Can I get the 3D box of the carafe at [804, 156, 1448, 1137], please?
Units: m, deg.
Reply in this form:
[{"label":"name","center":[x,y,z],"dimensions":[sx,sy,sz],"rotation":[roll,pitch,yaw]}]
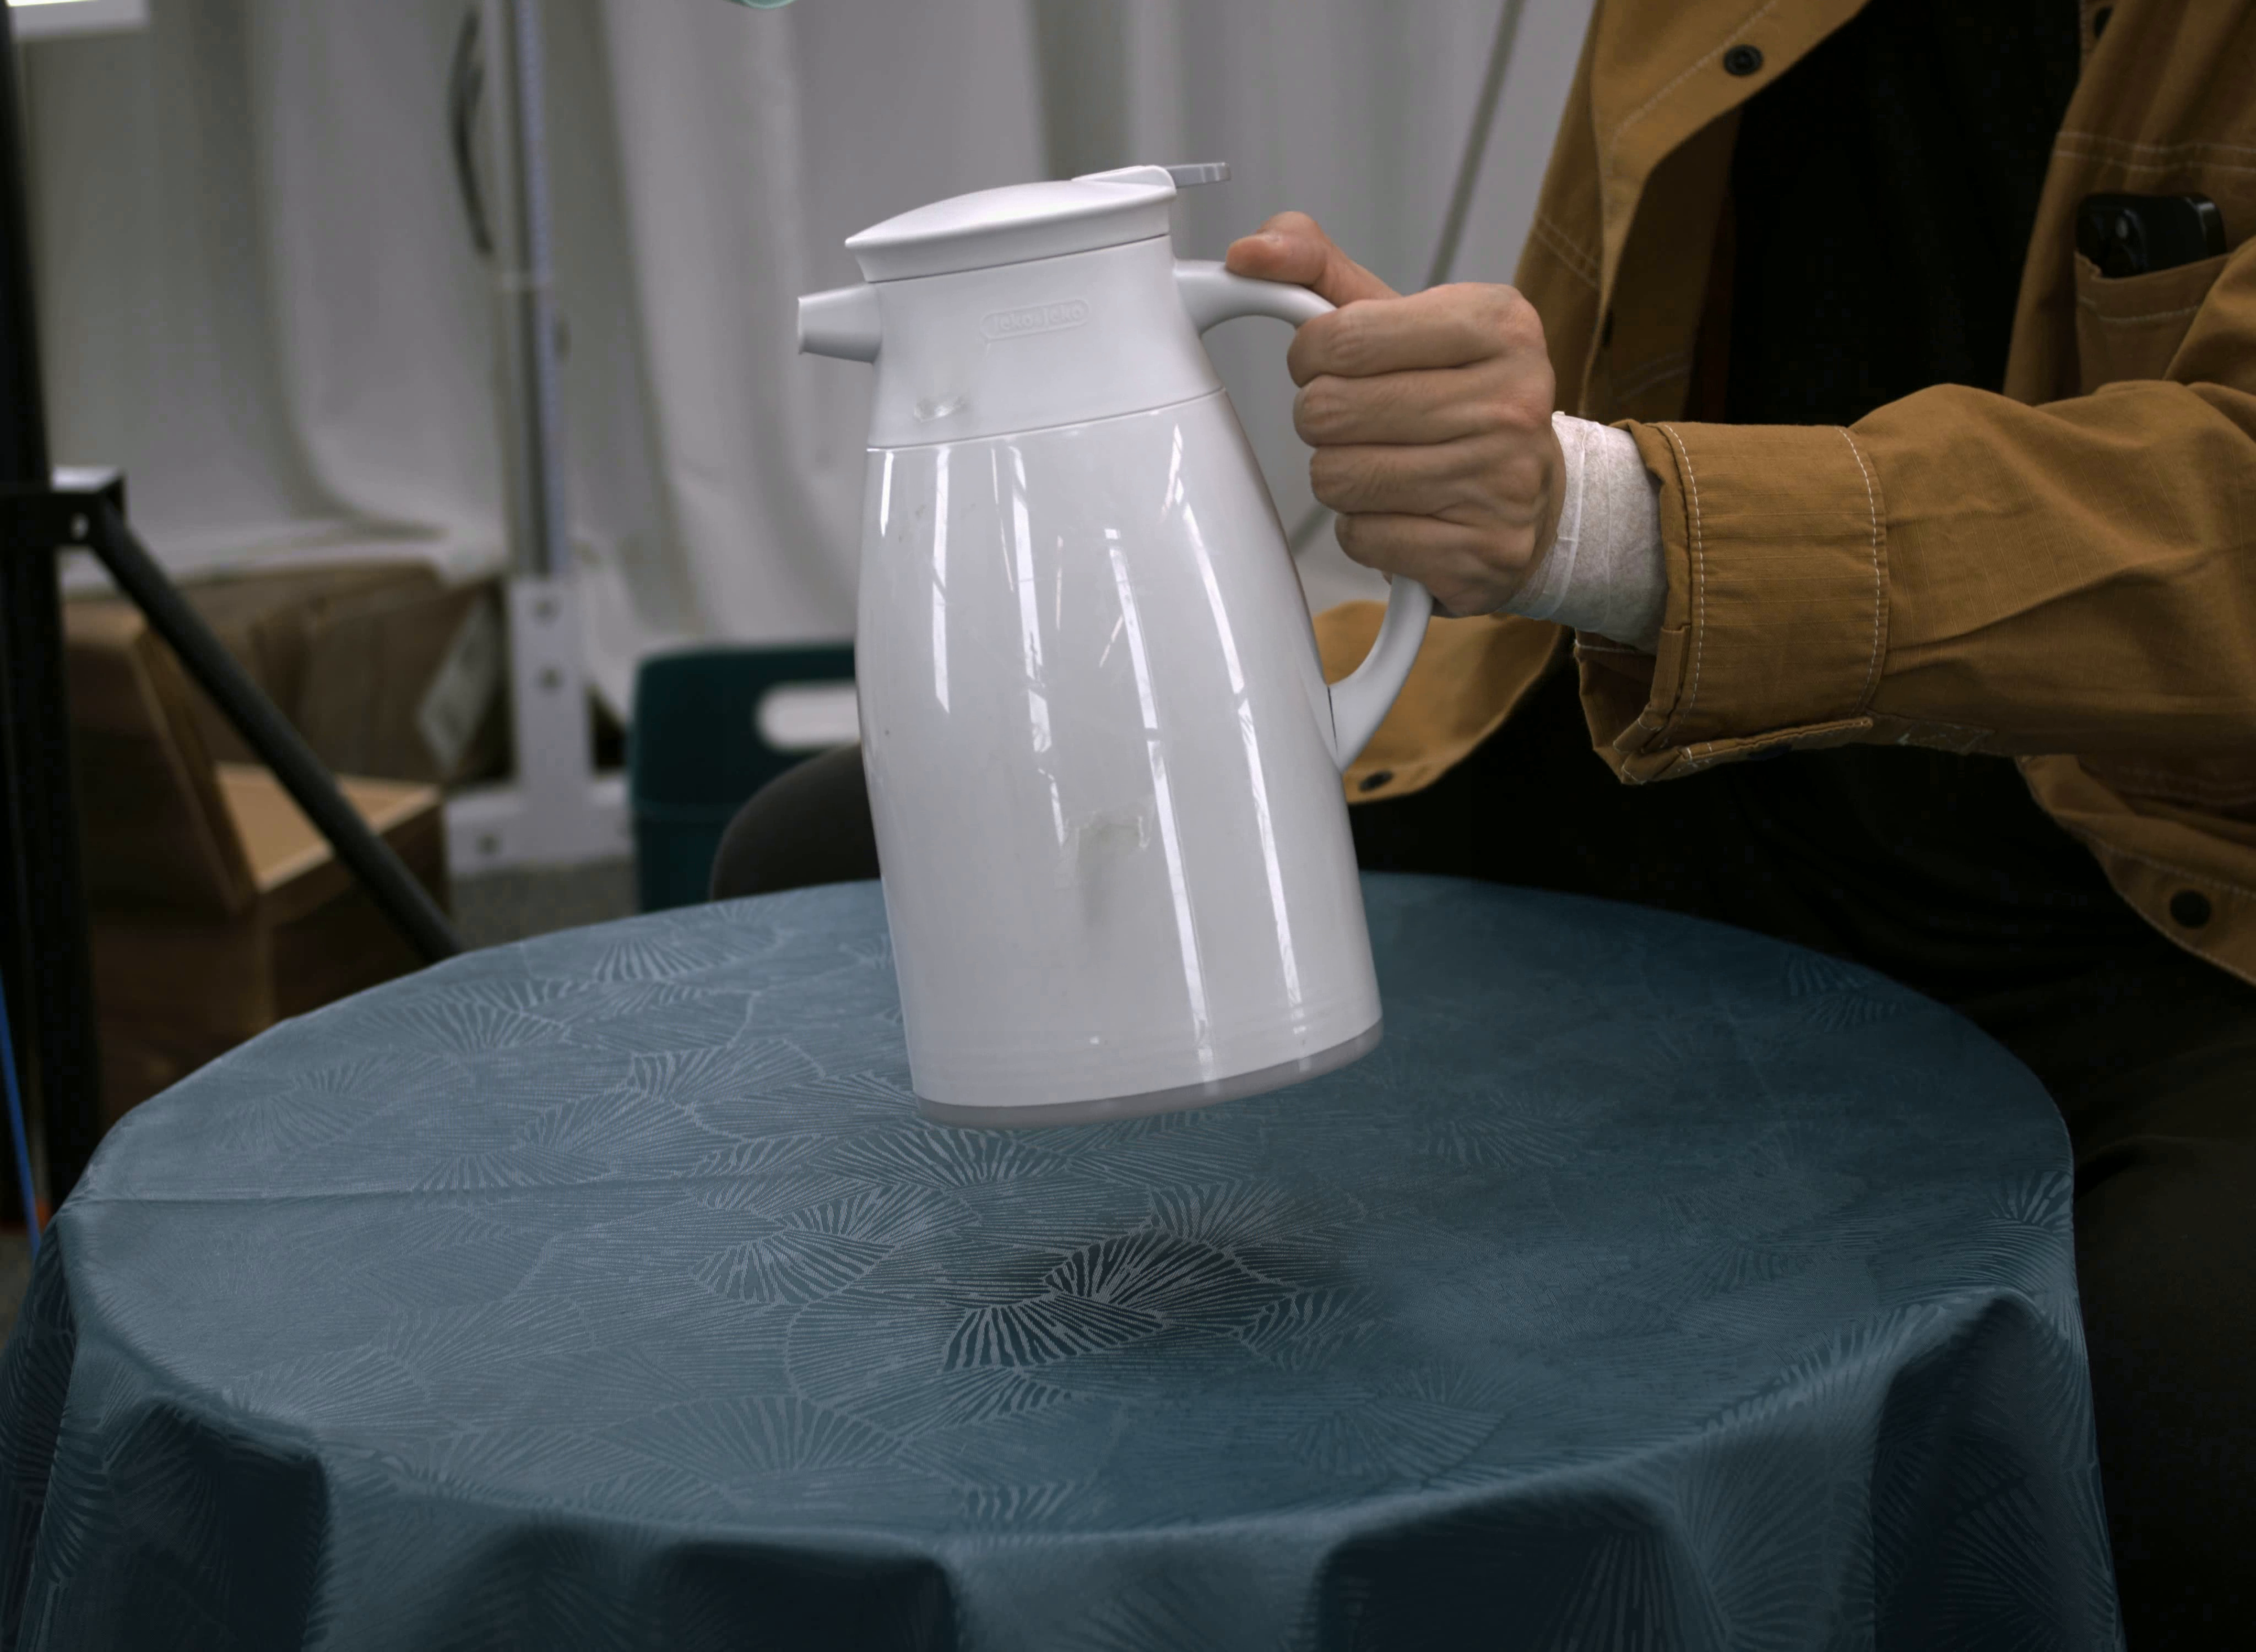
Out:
[{"label":"carafe","center":[0.007,-0.054,1.453],"dimensions":[0.167,0.249,0.133],"rotation":[-8,8,-2]}]
